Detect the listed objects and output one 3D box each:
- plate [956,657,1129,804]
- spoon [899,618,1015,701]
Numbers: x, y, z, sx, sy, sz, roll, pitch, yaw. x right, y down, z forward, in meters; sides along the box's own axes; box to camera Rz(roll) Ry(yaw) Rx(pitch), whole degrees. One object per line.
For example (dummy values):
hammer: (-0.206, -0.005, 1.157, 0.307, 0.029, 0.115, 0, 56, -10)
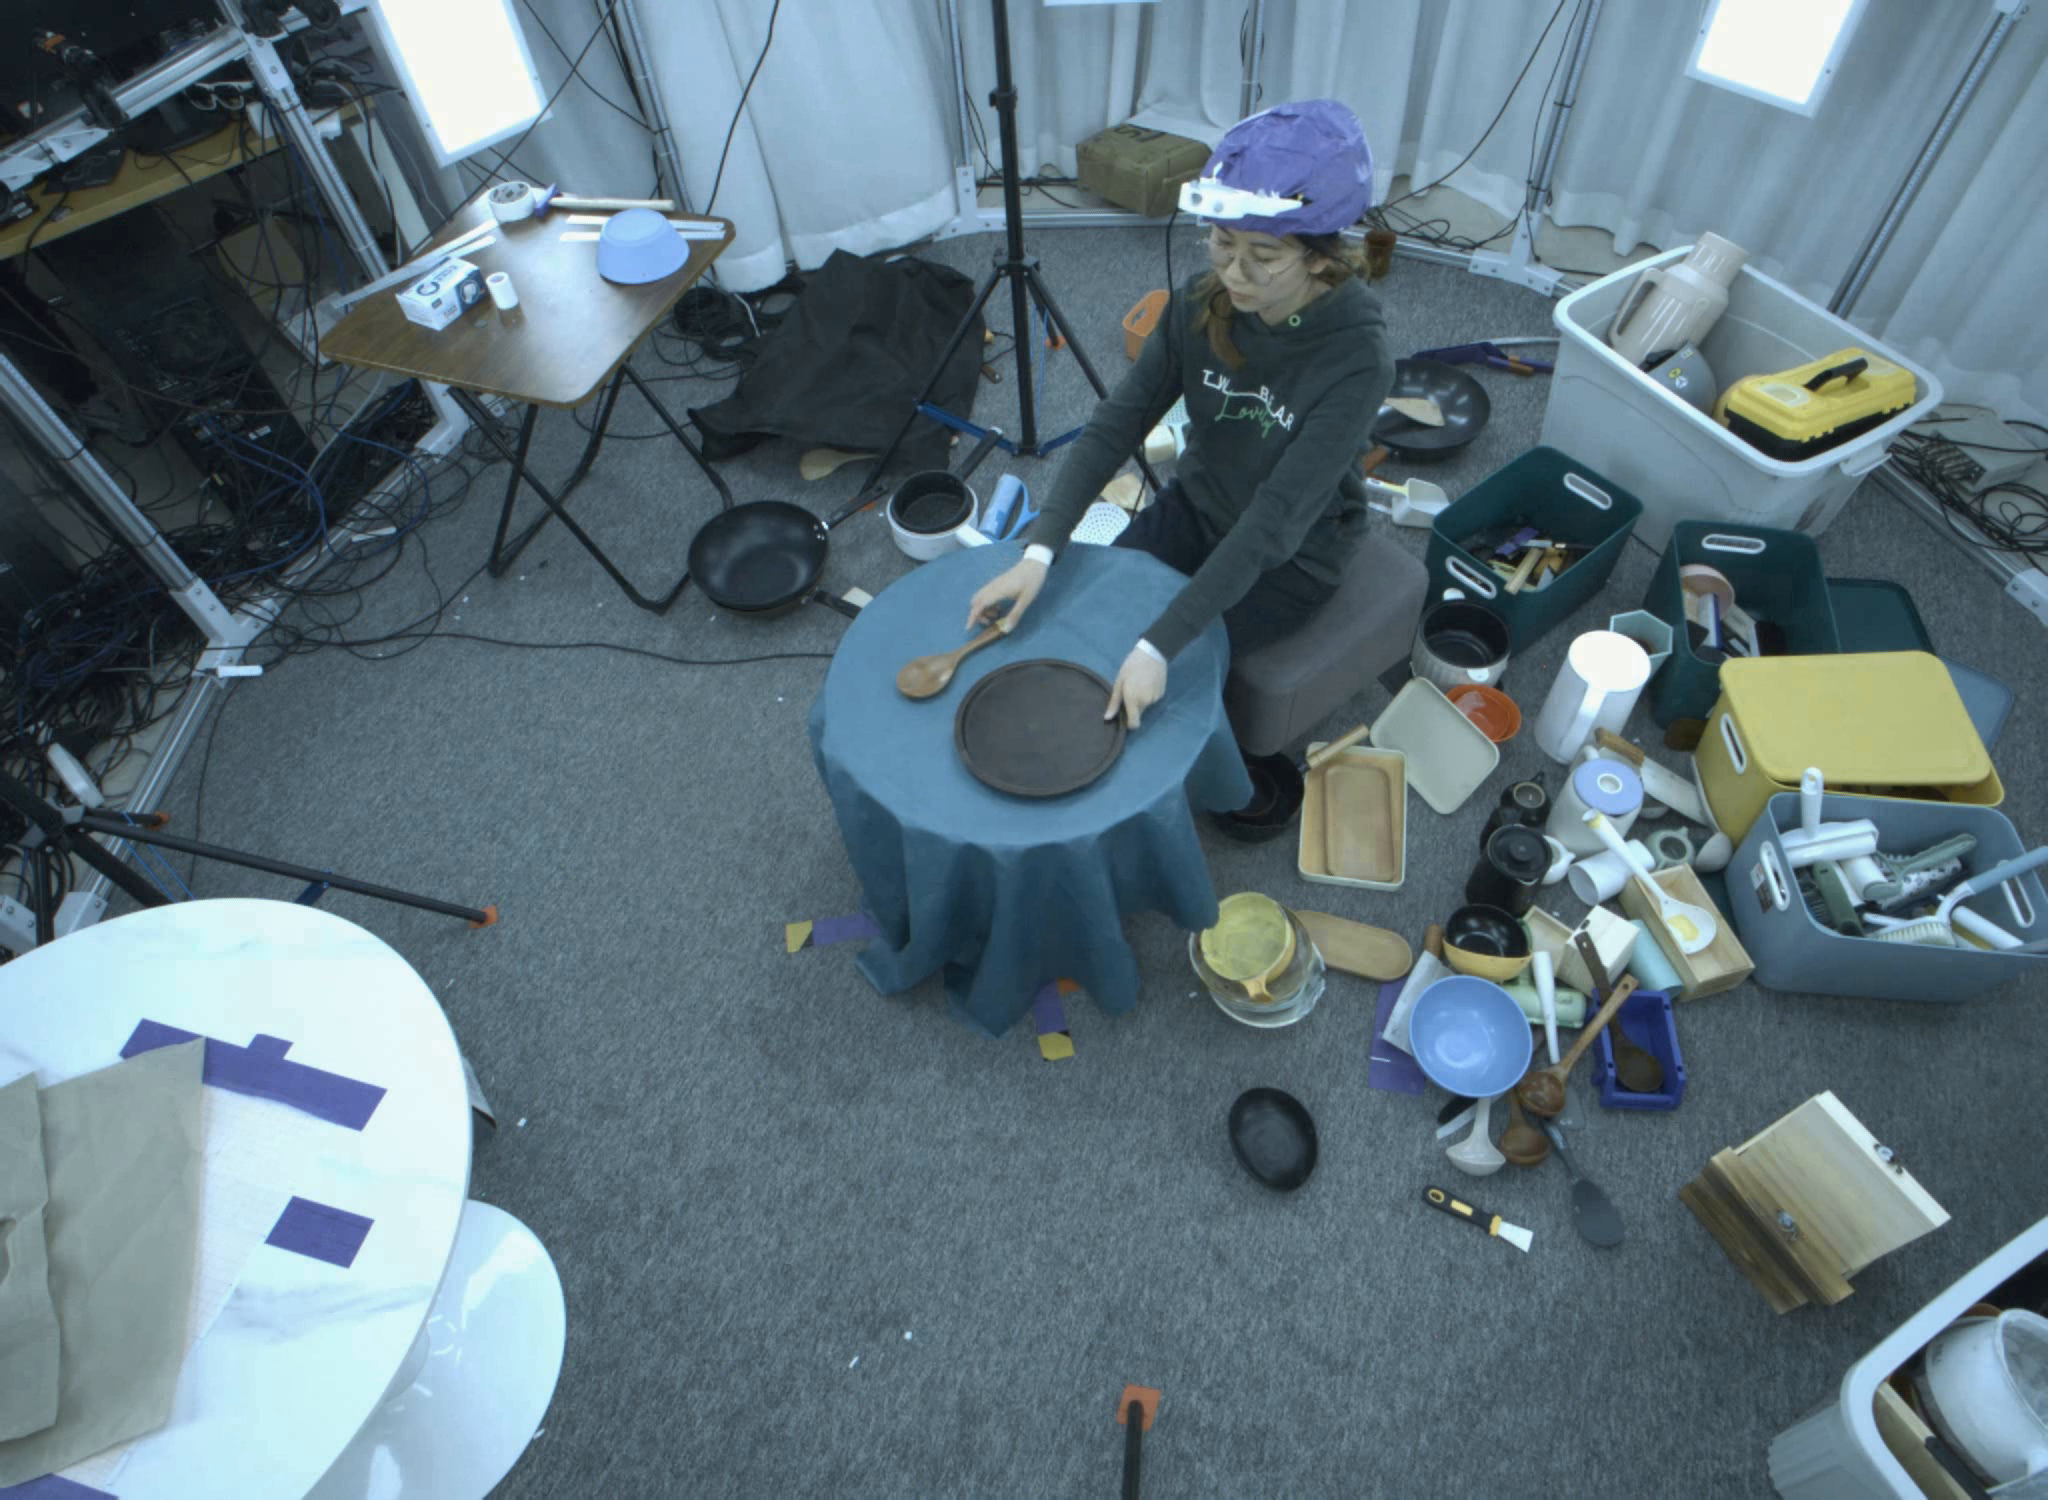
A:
plate: (0.026, -0.028, 1.803, 0.254, 0.029, 0.252, 0, 56, 2)
spoon: (-0.099, -0.140, 1.889, 0.217, 0.017, 0.074, -37, 61, -21)
